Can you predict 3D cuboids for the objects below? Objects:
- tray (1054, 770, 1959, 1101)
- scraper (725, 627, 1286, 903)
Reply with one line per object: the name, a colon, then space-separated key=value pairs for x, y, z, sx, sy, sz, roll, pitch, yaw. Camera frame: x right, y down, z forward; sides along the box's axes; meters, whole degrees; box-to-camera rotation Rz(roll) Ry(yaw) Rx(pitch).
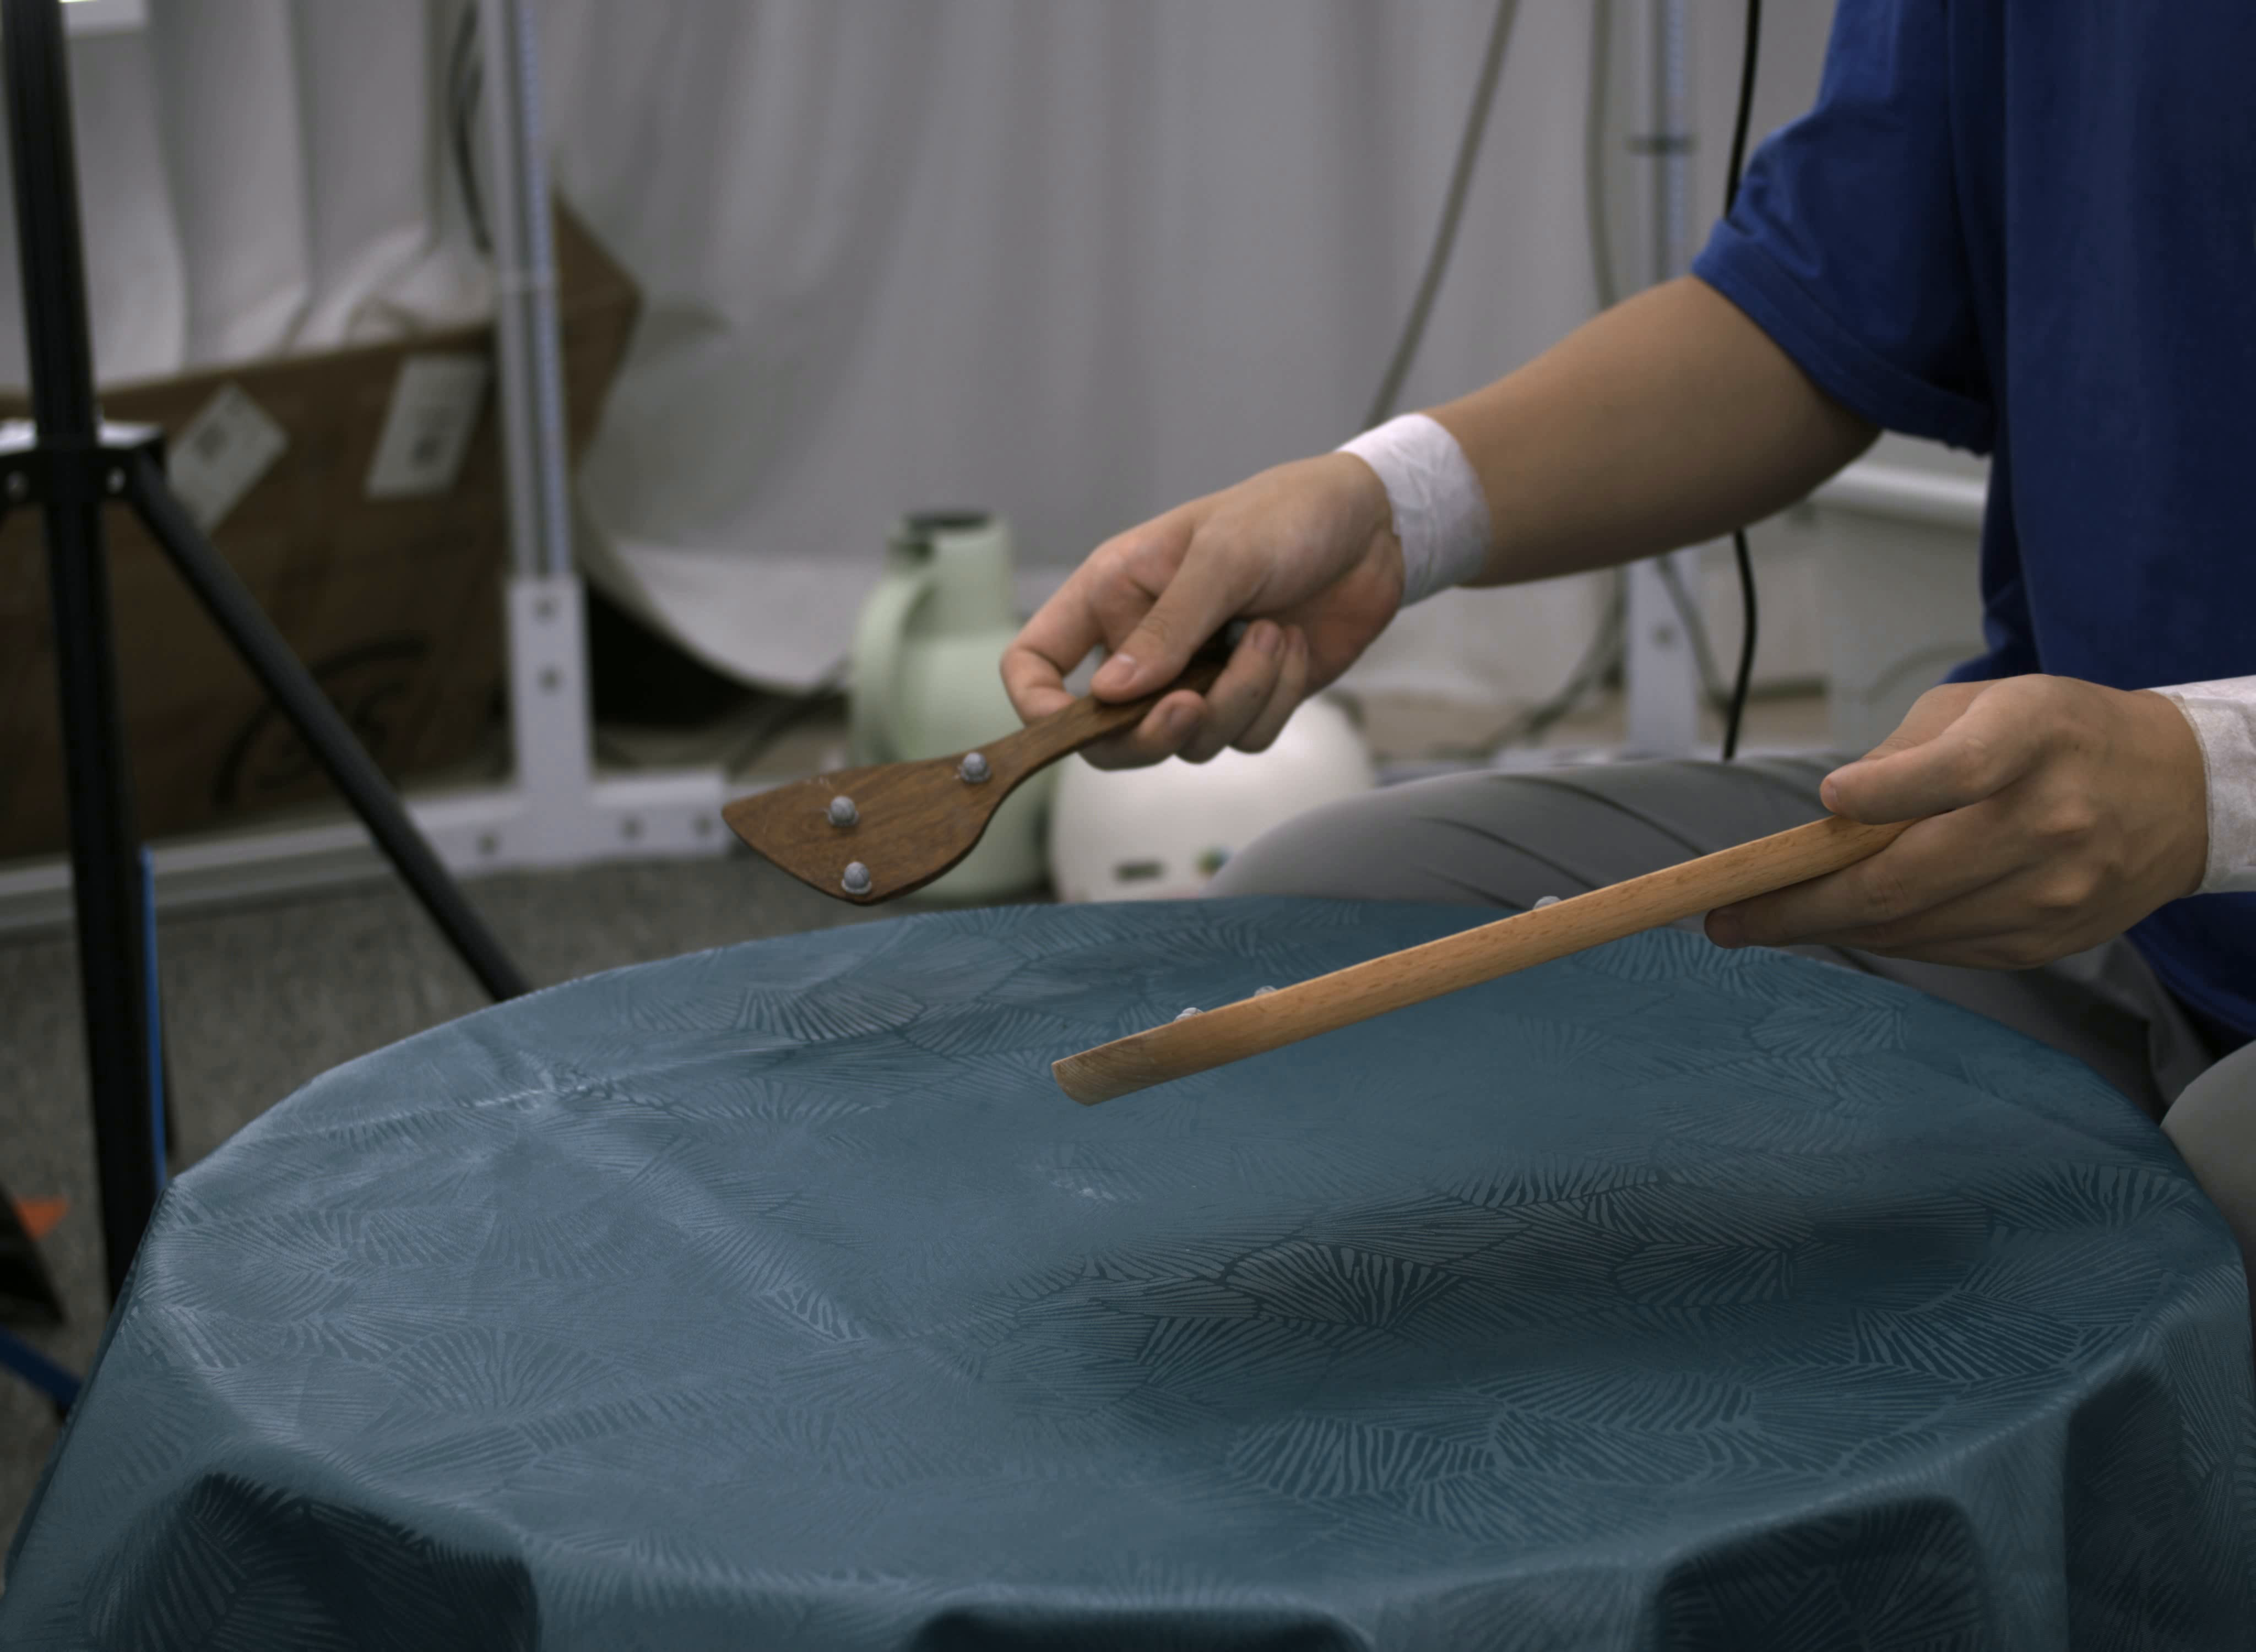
tray: x=0.106 y=0.032 z=1.469 sx=0.246 sy=0.023 sz=0.132 roll=-16 pitch=0 yaw=-18
scraper: x=-0.032 y=-0.024 z=1.754 sx=0.207 sy=0.011 sz=0.077 roll=-26 pitch=38 yaw=-30
